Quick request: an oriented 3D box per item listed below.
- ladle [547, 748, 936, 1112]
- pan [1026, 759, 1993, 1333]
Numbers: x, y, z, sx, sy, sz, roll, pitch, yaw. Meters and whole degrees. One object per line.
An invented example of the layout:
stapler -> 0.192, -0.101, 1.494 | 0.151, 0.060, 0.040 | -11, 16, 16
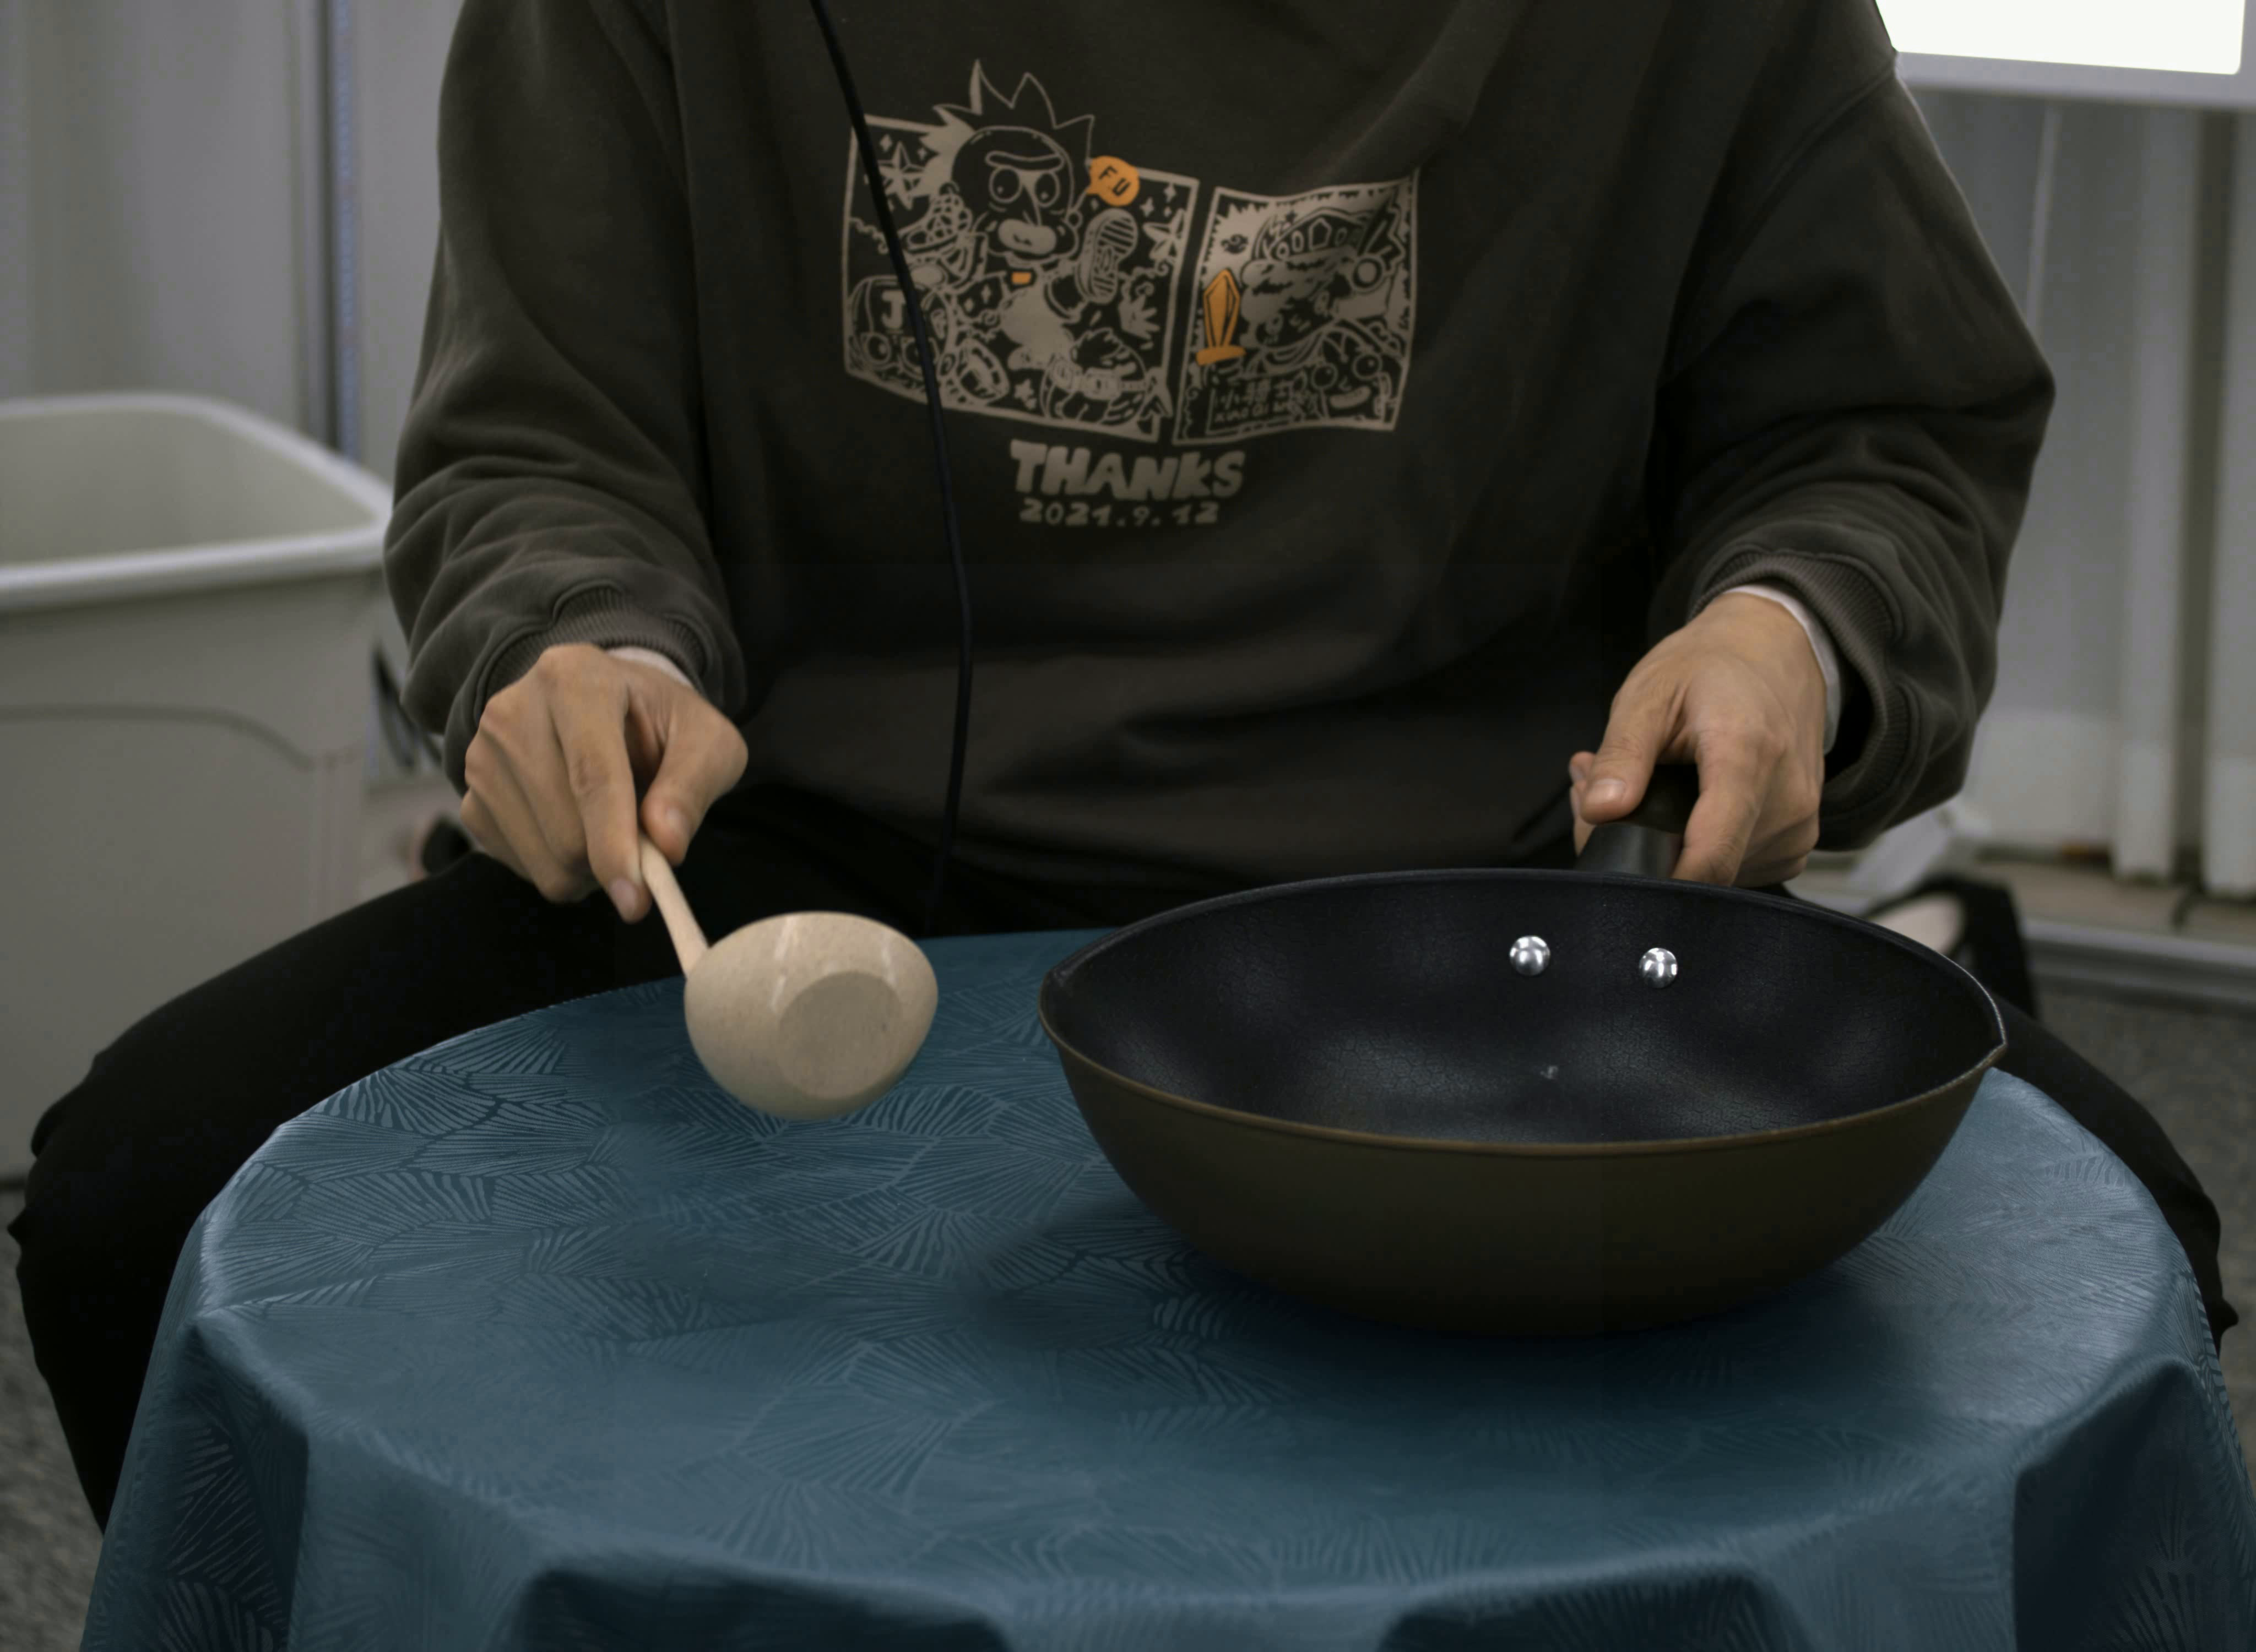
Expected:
ladle -> -0.124, 0.005, 1.610 | 0.073, 0.073, 0.251 | 28, 14, -31
pan -> 0.135, 0.065, 1.651 | 0.286, 0.087, 0.463 | 4, 15, 14
